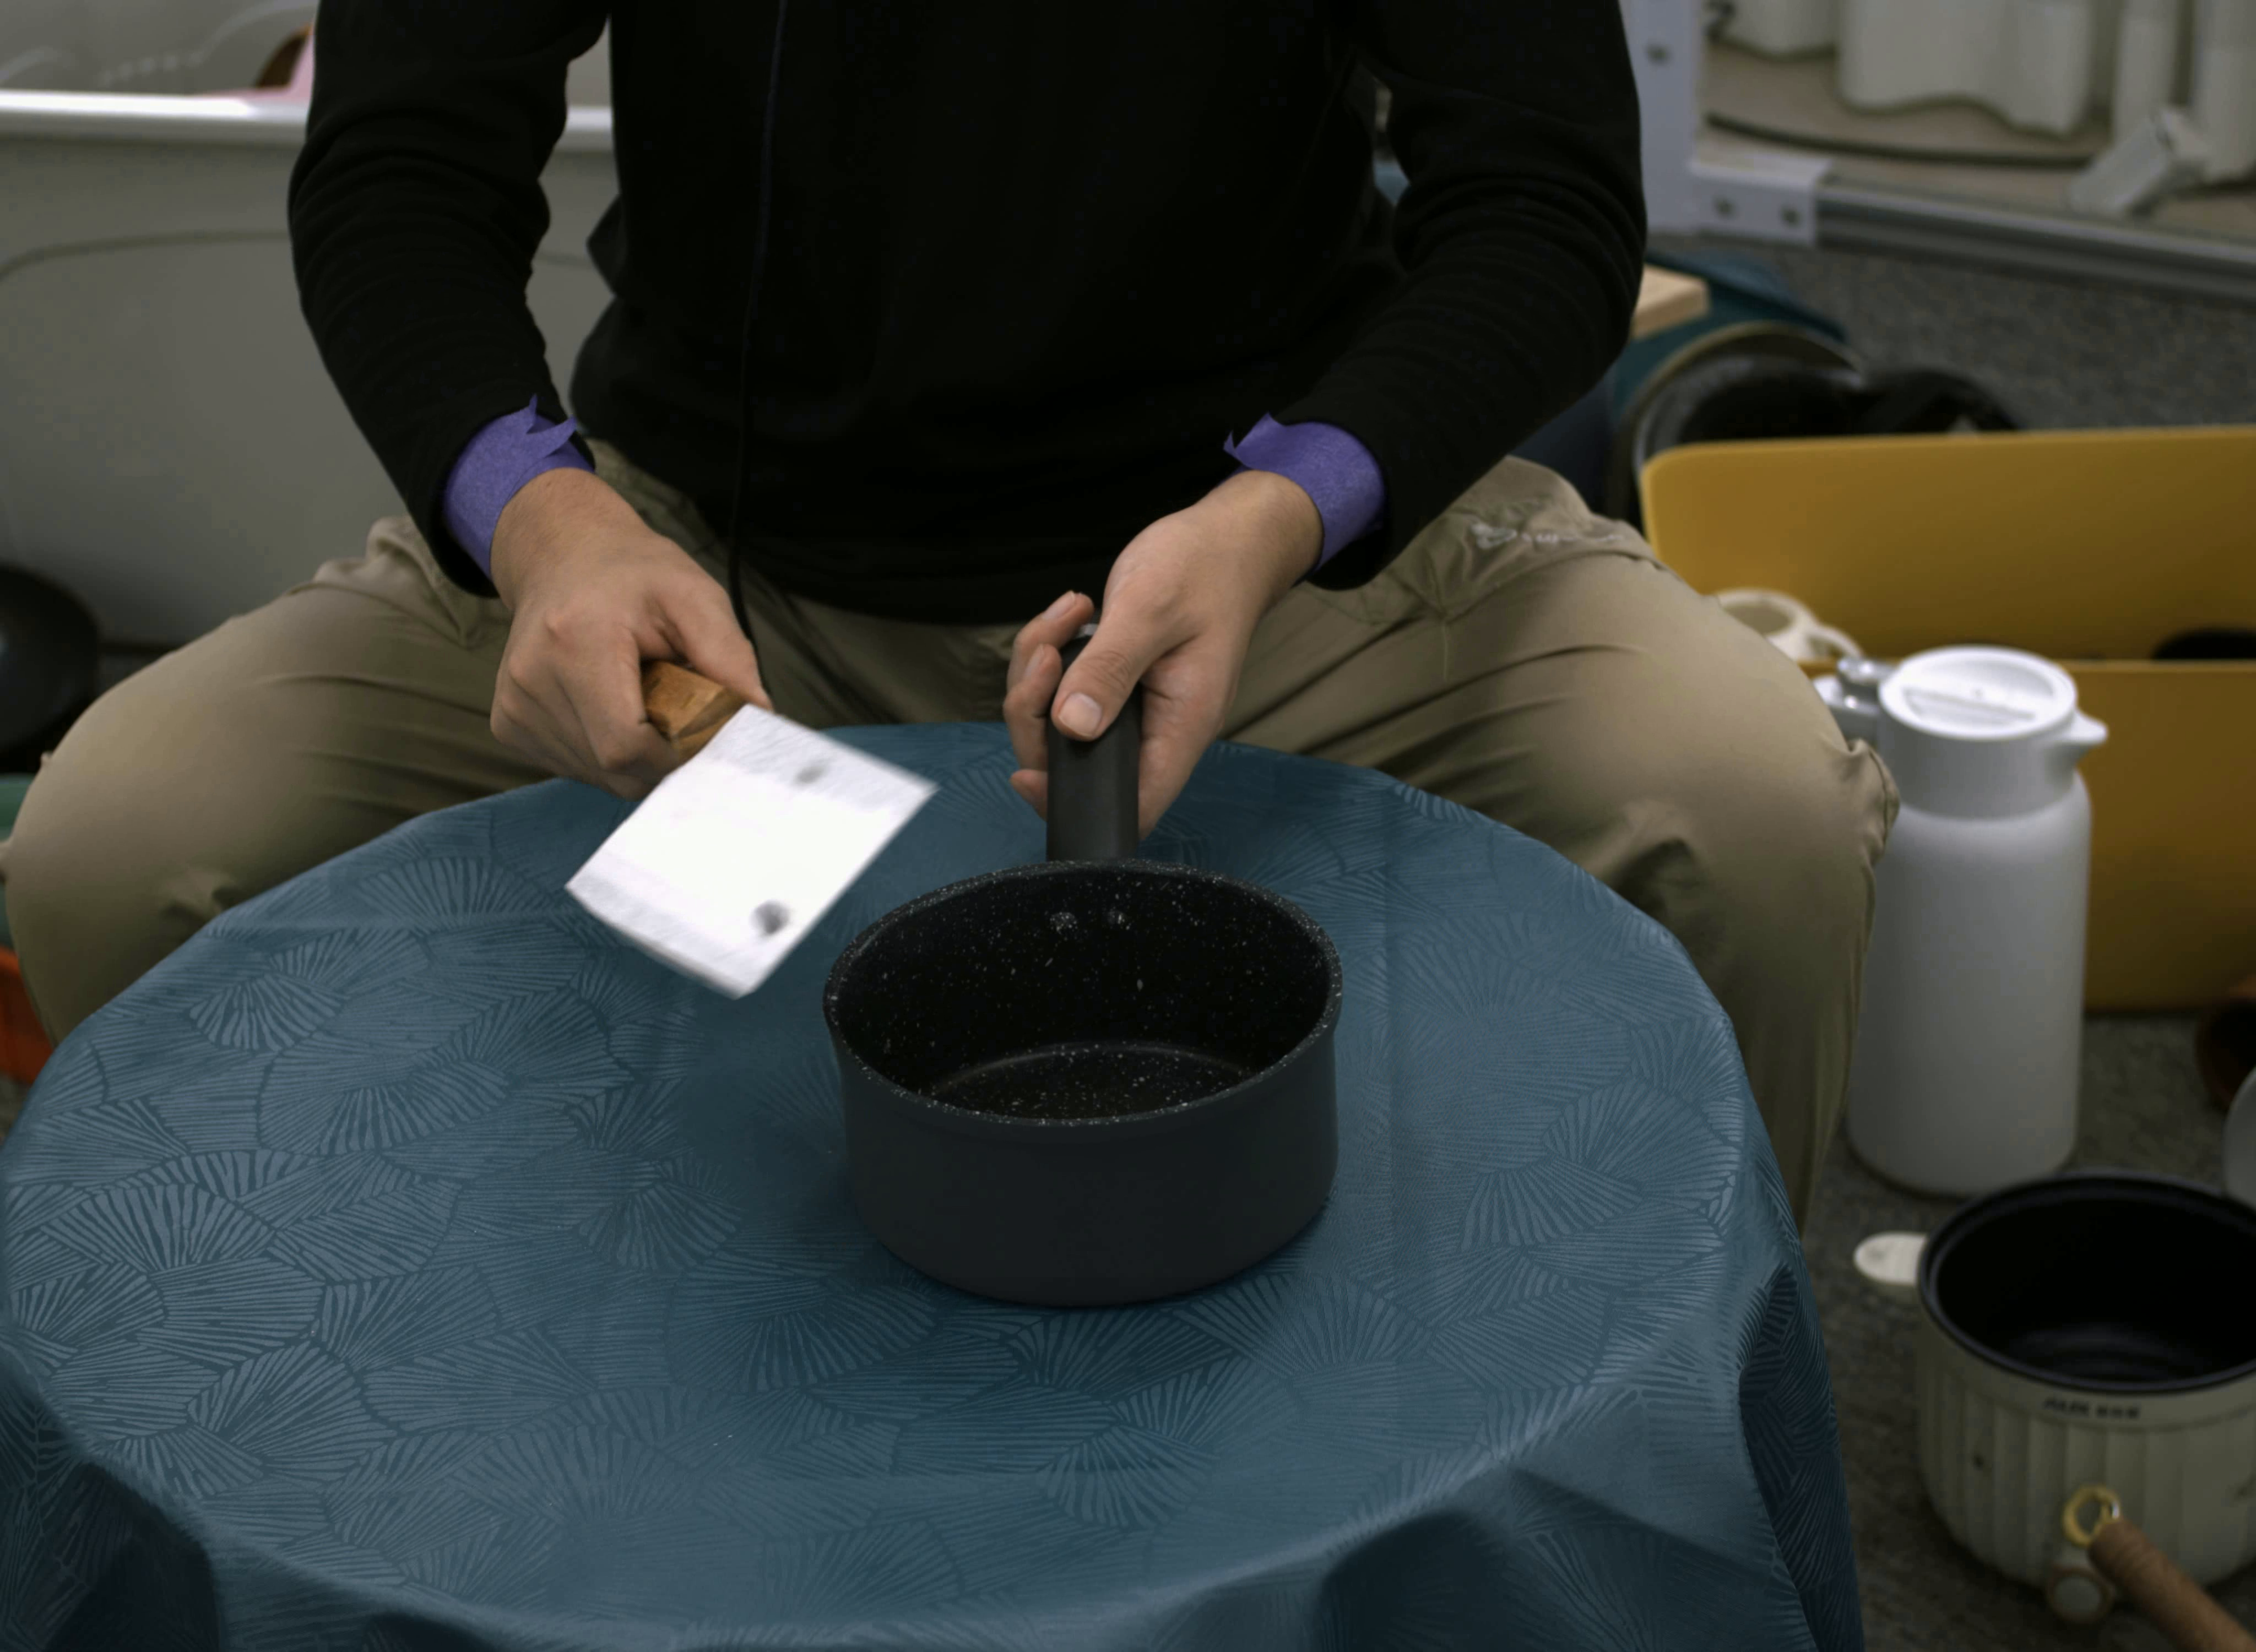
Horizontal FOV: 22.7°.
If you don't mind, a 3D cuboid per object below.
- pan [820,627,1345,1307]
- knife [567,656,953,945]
[{"bbox_3d":[-0.009,0.044,1.917,0.171,0.085,0.334,-1,29,4],"label":"pan"},{"bbox_3d":[-0.144,-0.008,1.897,0.093,0.021,0.305,-48,24,-10],"label":"knife"}]
